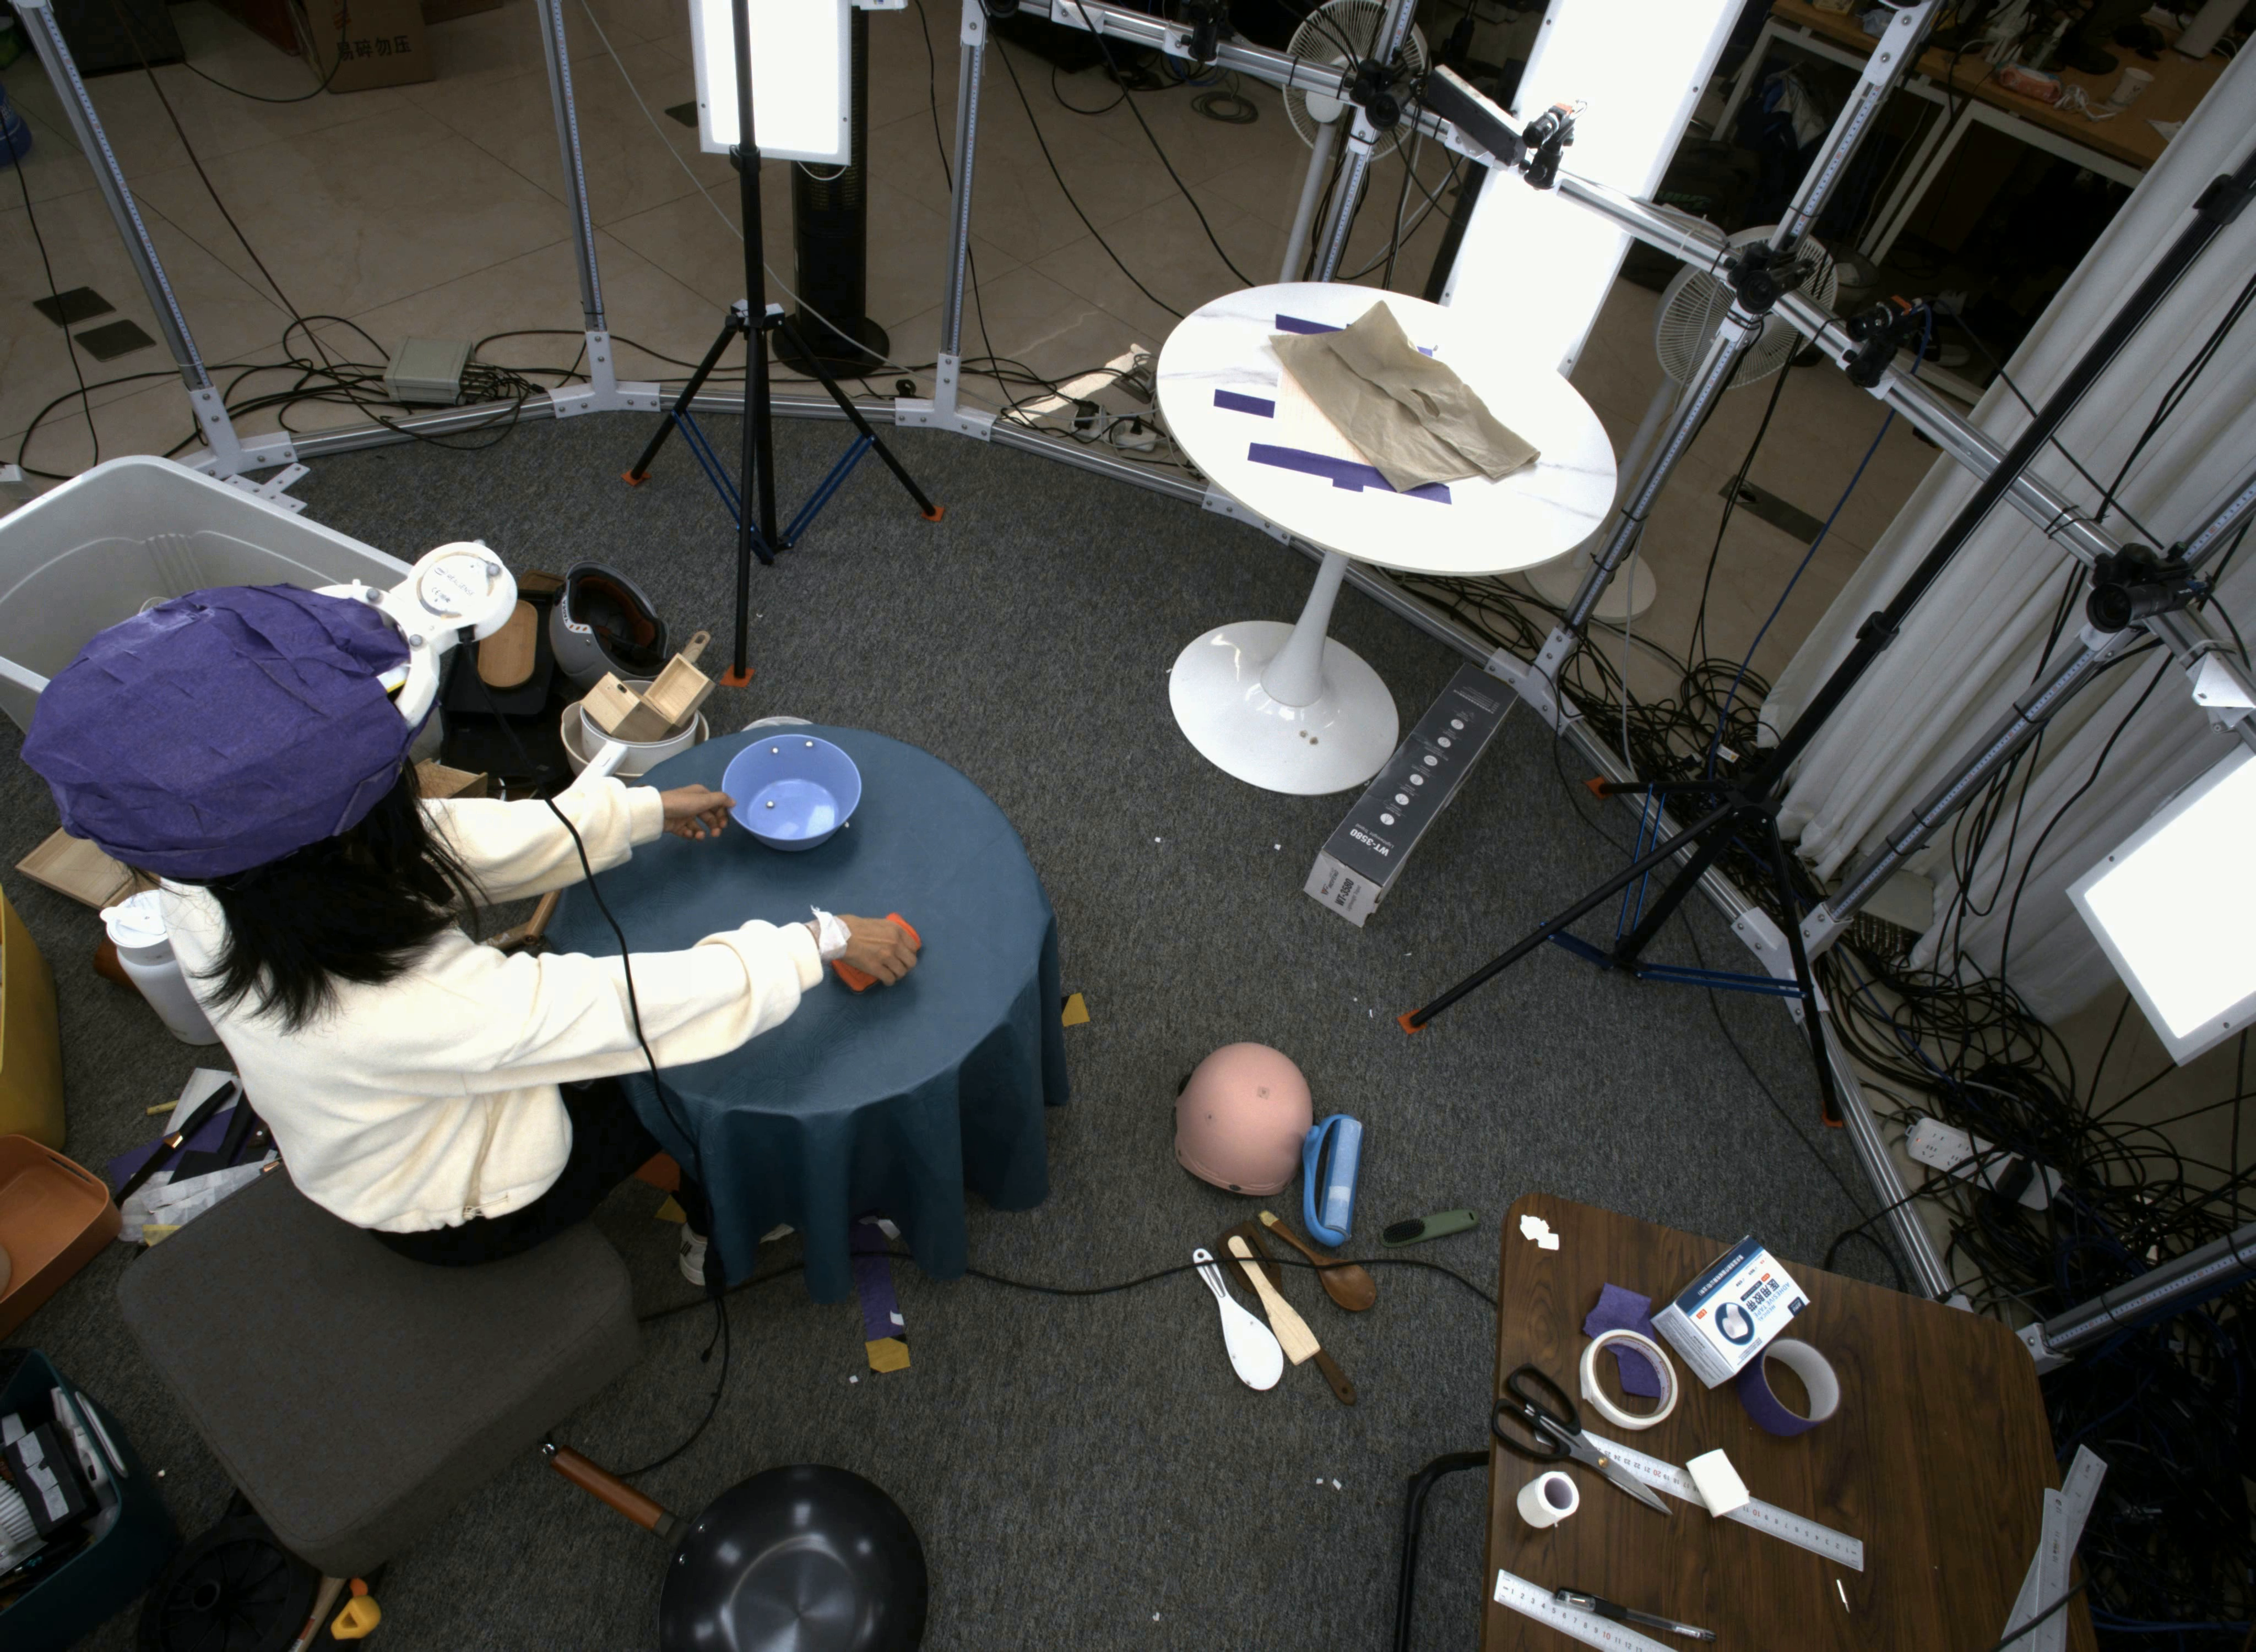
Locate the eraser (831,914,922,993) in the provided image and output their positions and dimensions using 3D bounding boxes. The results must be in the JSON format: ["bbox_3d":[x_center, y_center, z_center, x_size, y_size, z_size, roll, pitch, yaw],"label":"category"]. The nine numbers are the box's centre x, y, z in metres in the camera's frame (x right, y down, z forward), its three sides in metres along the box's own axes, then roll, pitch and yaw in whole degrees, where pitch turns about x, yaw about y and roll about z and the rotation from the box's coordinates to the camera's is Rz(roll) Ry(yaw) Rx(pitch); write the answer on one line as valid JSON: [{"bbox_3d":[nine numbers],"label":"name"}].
[{"bbox_3d":[-0.312,0.156,1.617,0.058,0.023,0.108,44,55,16],"label":"eraser"}]

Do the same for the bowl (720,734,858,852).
[{"bbox_3d":[-0.442,-0.034,1.693,0.176,0.072,0.173,8,52,-9],"label":"bowl"}]
